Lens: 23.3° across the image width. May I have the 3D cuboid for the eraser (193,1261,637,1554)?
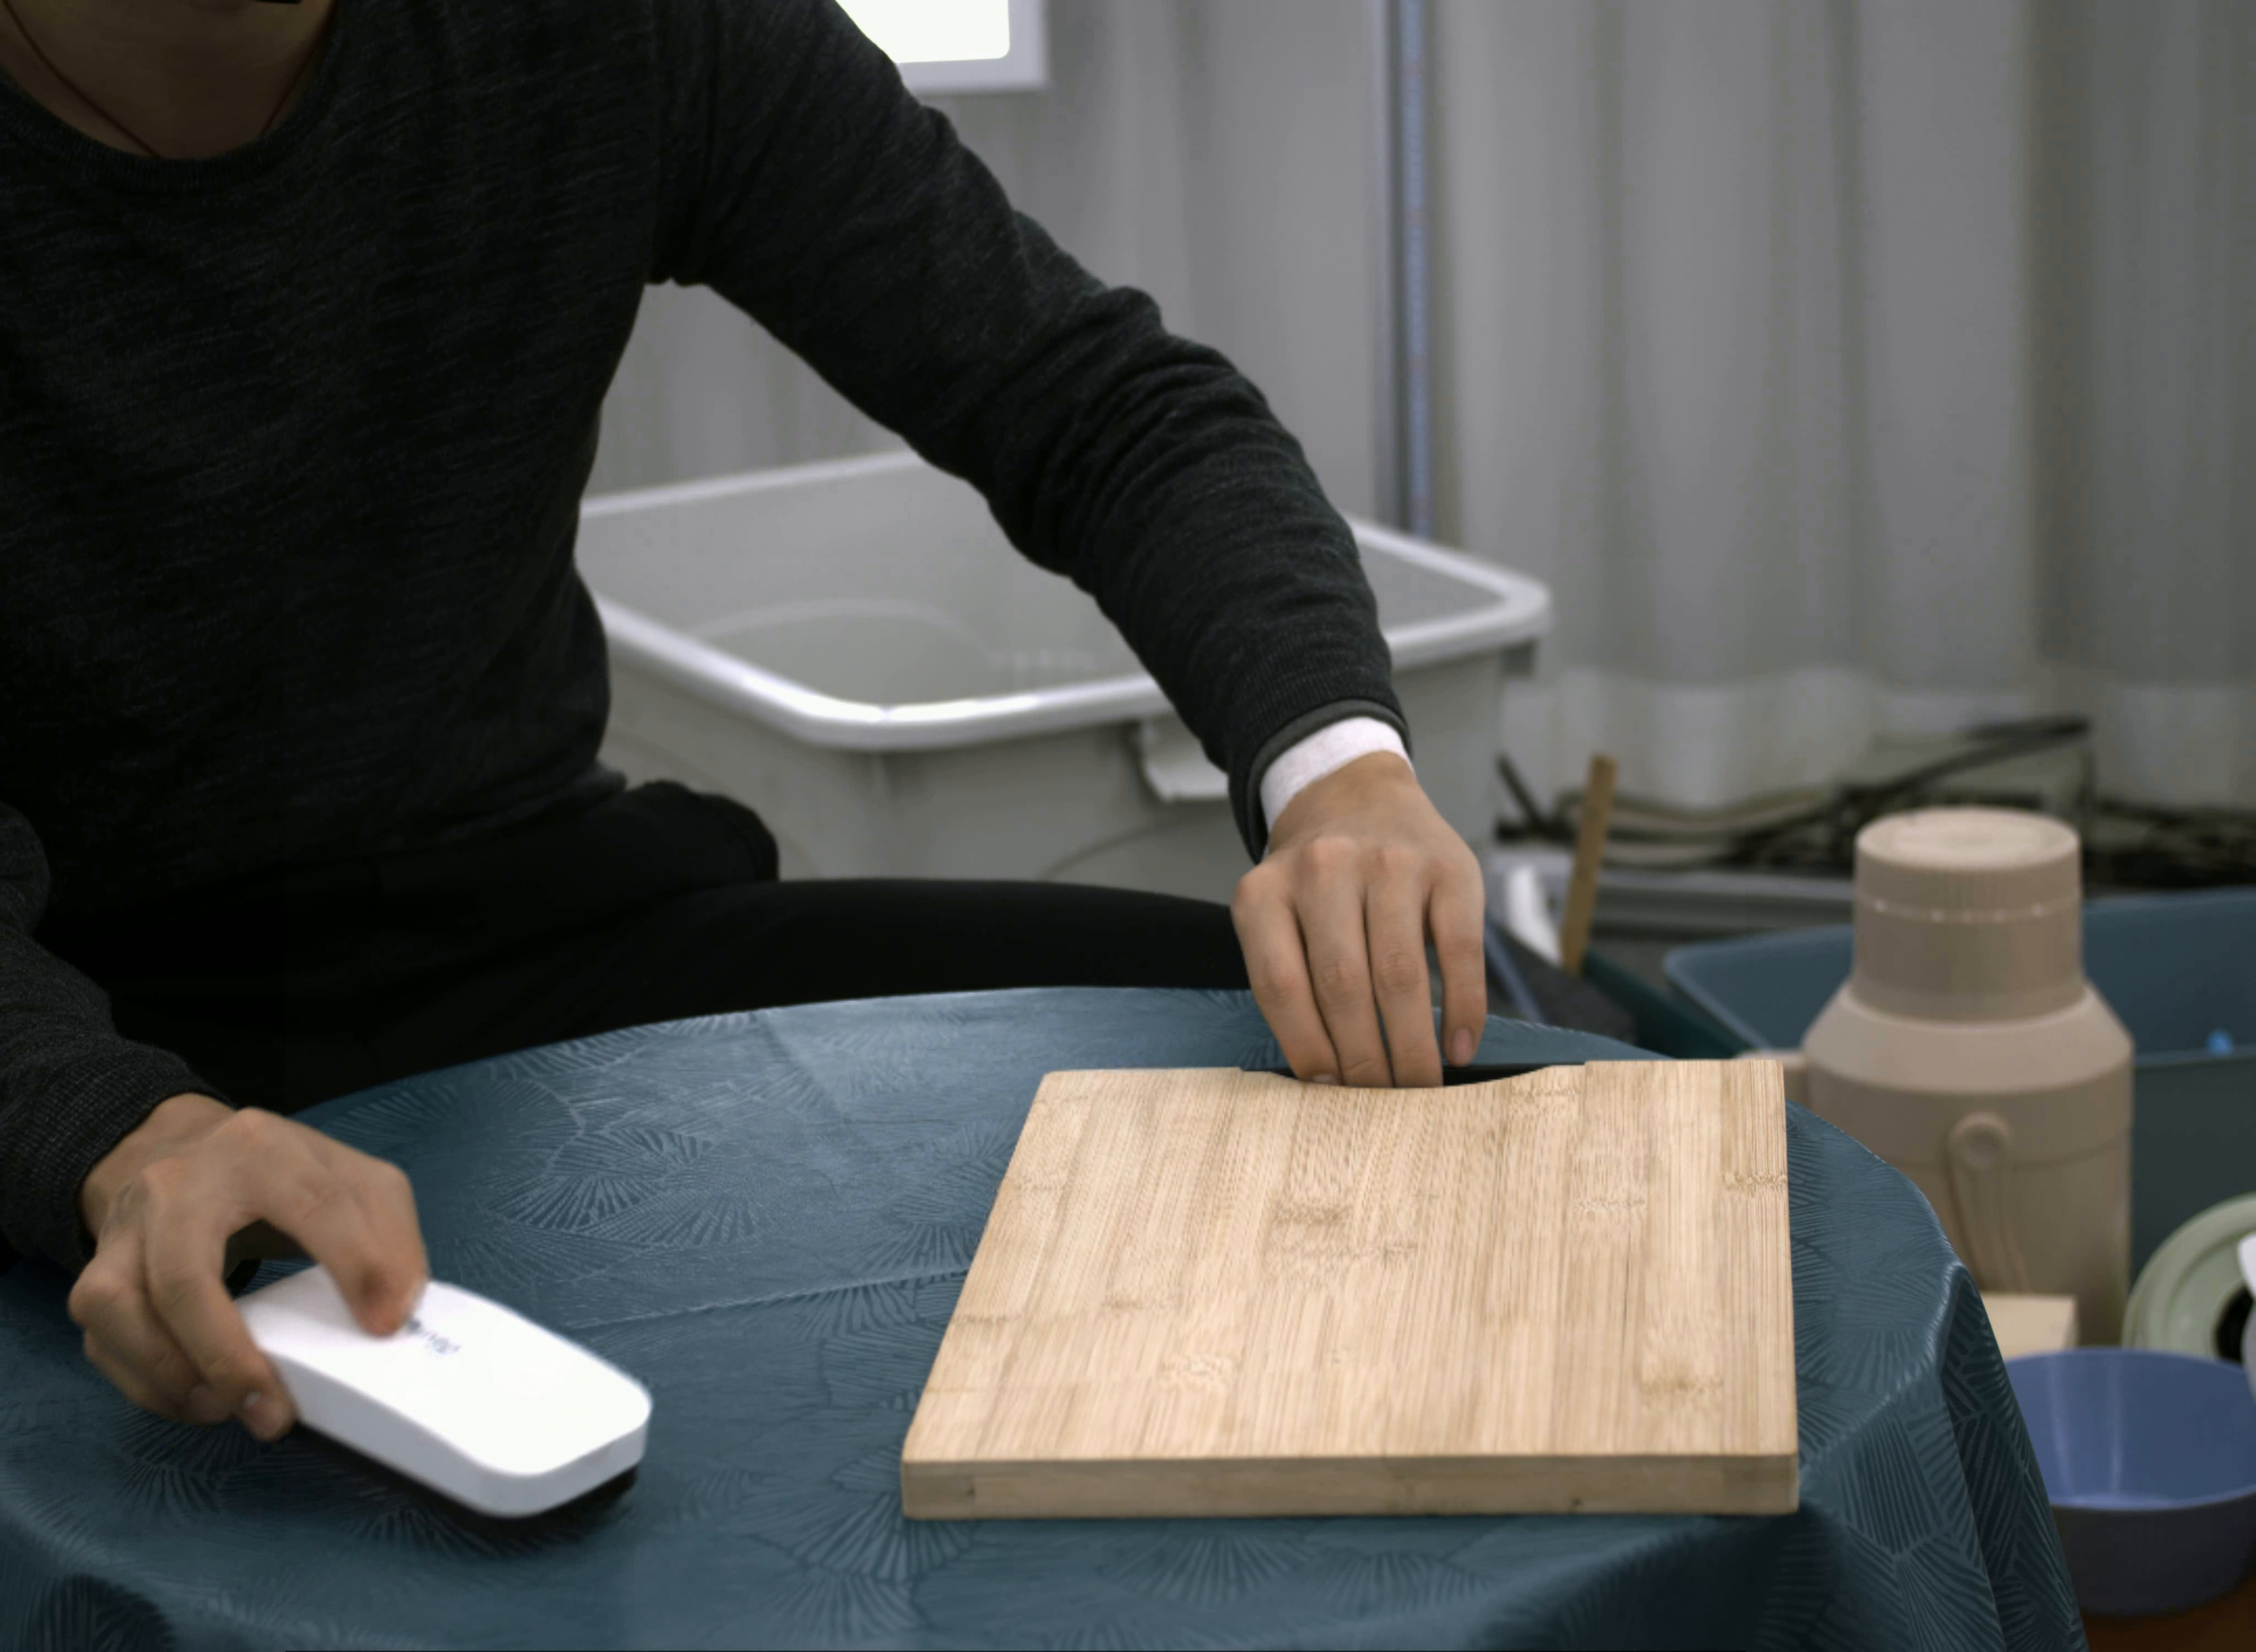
[{"bbox_3d":[-0.194,0.155,1.492,0.132,0.034,0.063,23,29,36],"label":"eraser"}]

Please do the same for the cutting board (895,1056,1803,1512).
[{"bbox_3d":[0.076,0.130,1.611,0.250,0.023,0.351,-1,15,6],"label":"cutting board"}]
